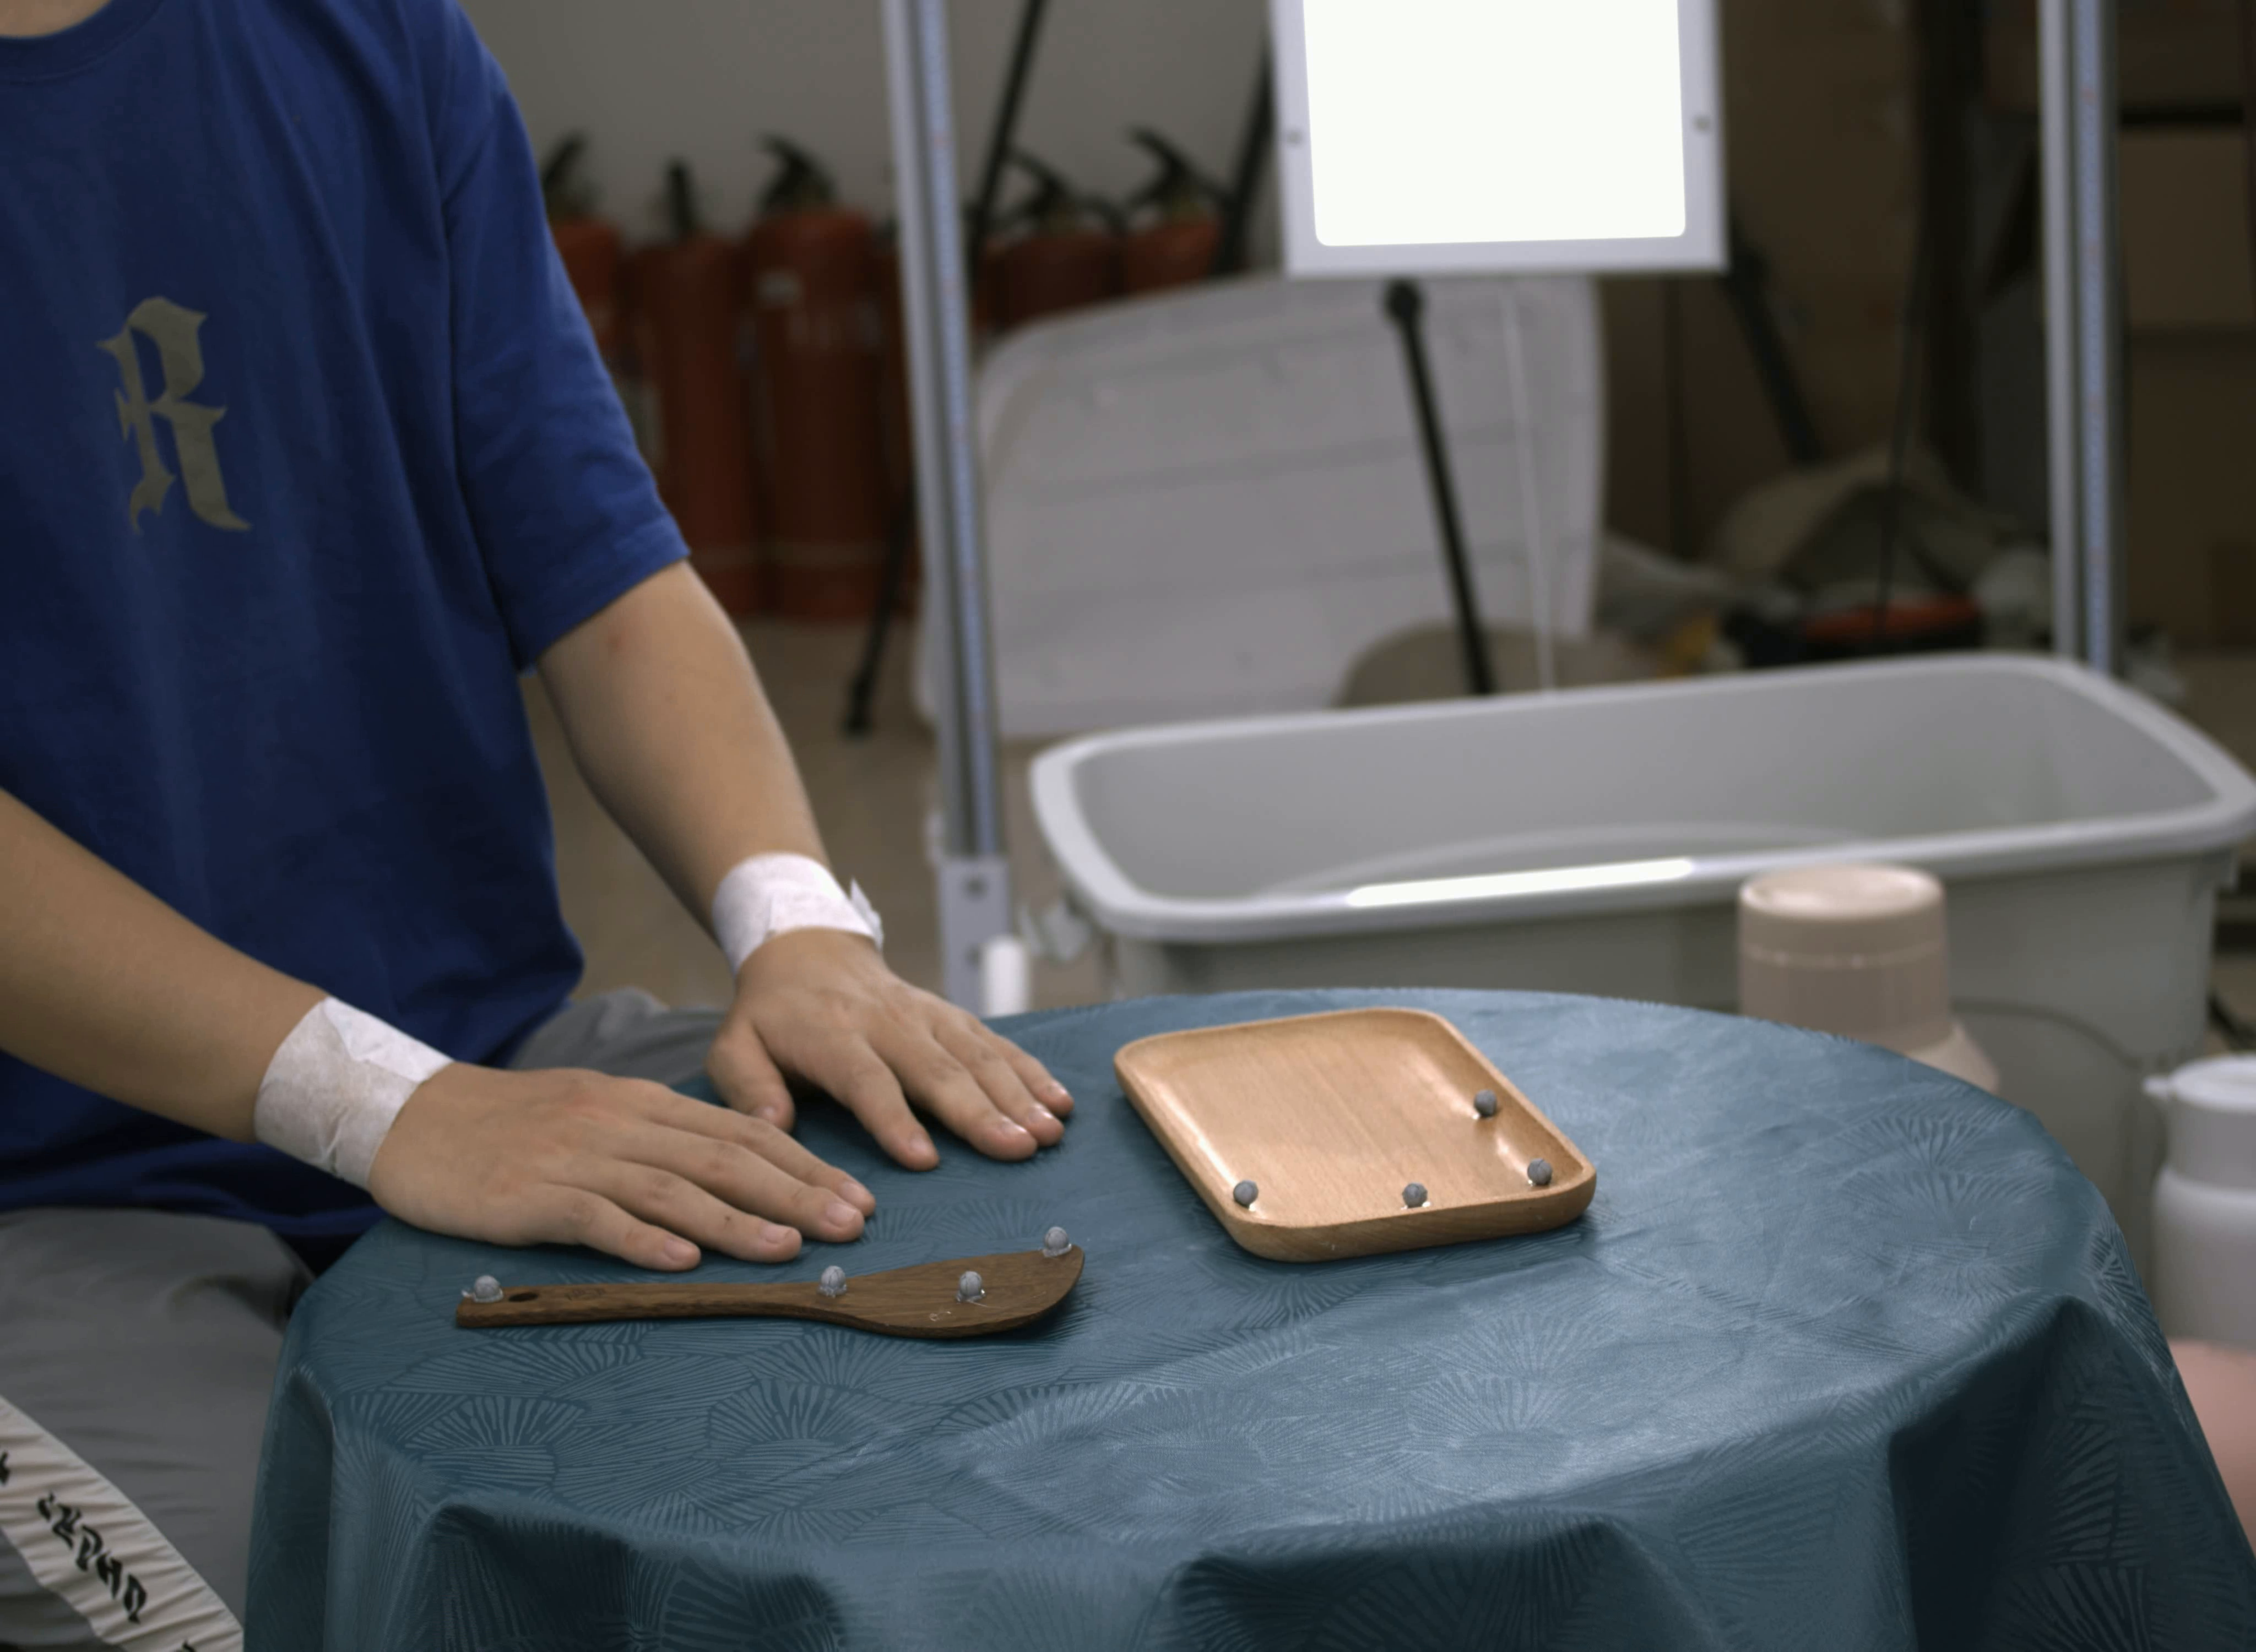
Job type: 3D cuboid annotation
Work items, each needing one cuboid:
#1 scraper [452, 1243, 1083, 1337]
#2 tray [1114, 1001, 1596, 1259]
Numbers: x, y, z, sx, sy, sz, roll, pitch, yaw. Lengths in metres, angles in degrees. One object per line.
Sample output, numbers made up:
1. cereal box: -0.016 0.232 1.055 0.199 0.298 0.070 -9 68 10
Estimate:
1. scraper: -0.119 0.154 1.808 0.213 0.011 0.075 -3 13 13
2. tray: 0.076 0.104 1.924 0.129 0.023 0.252 -5 13 -9
